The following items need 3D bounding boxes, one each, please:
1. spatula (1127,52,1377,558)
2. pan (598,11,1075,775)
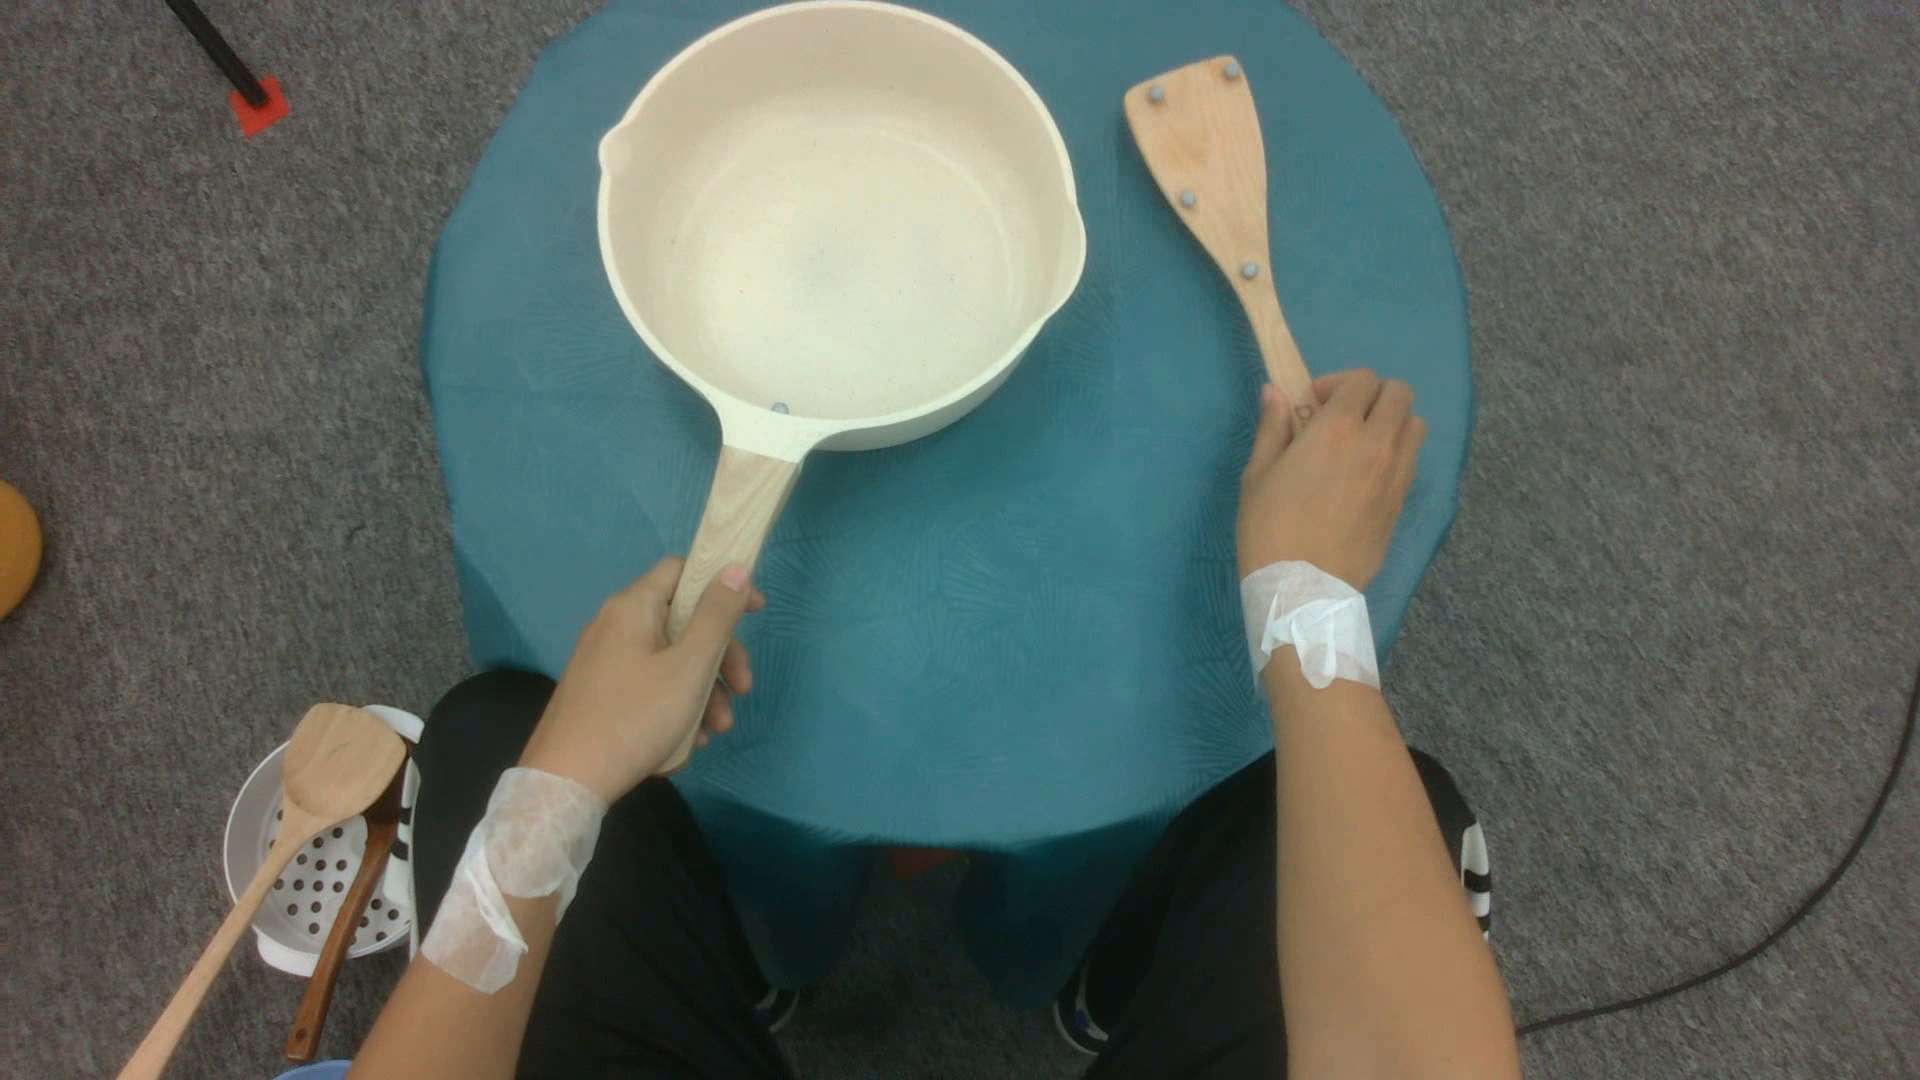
[{"bbox_3d":[0.171,-0.141,0.778,0.080,0.016,0.328,-9,69,-17],"label":"spatula"},{"bbox_3d":[-0.090,-0.083,0.743,0.263,0.101,0.436,14,73,2],"label":"pan"}]
